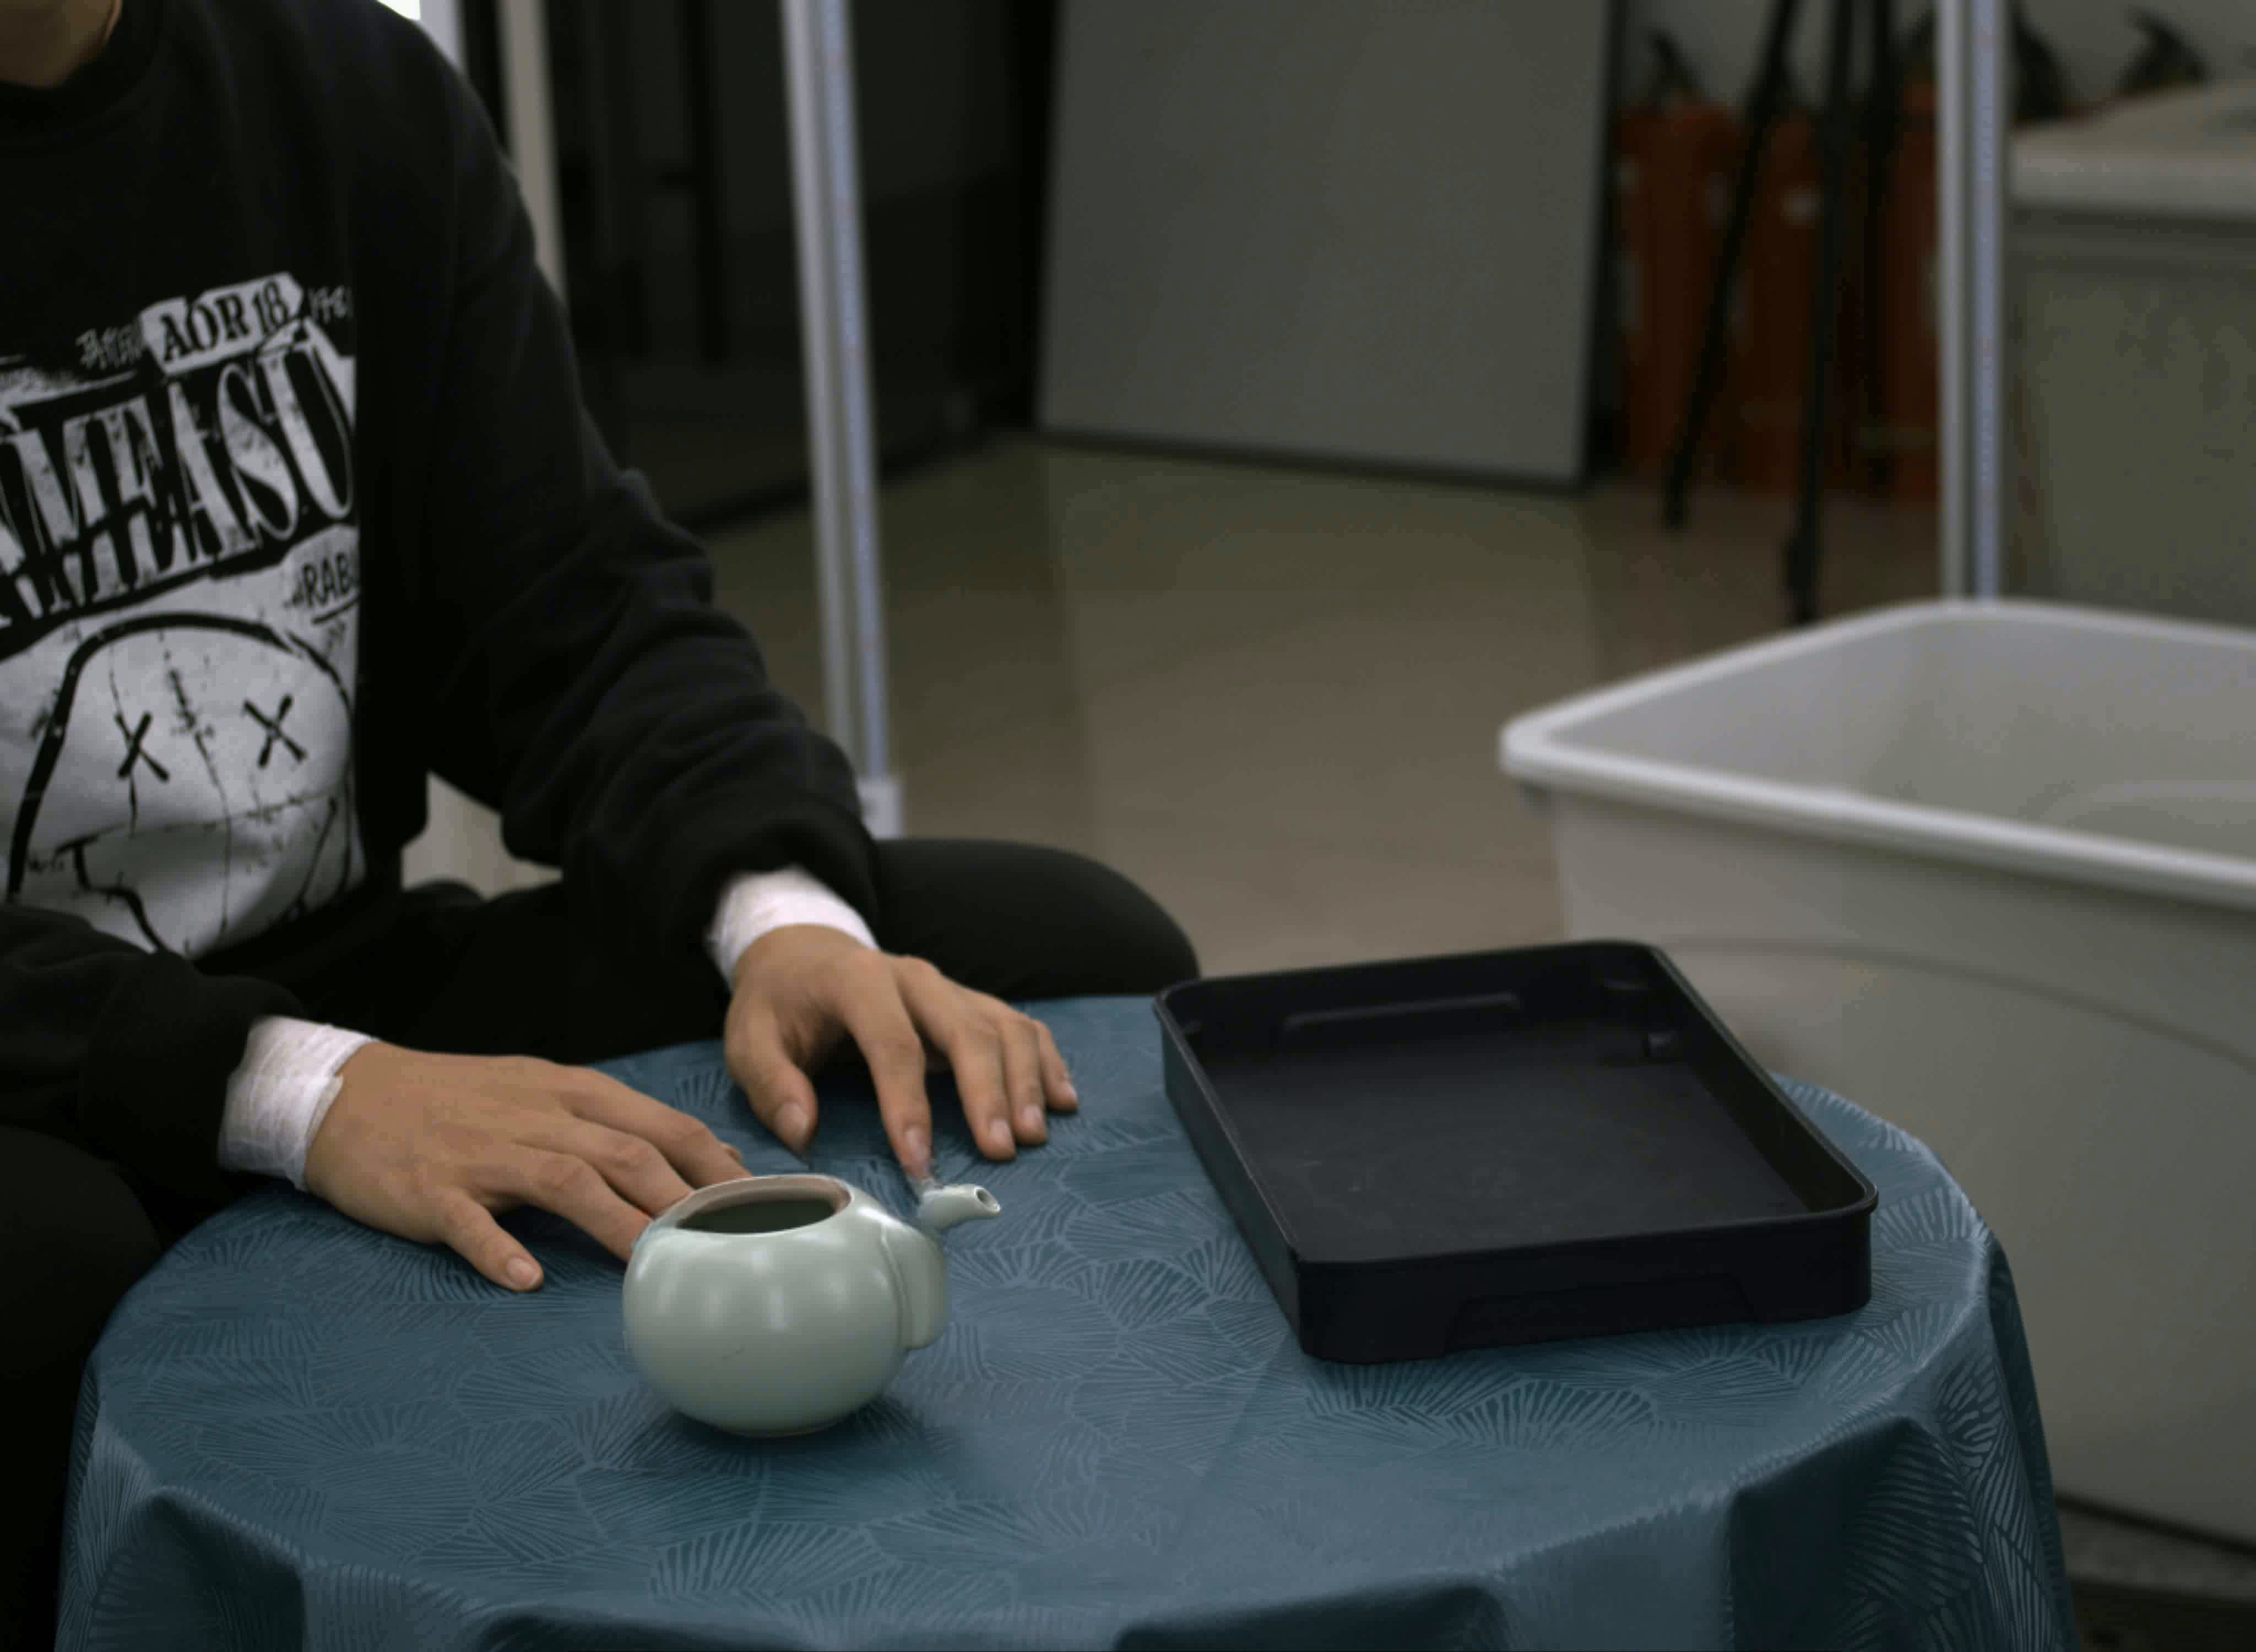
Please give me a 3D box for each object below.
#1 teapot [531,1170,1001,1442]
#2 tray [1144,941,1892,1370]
[{"bbox_3d":[-0.105,0.139,1.583,0.143,0.075,0.088,1,15,15],"label":"teapot"},{"bbox_3d":[0.119,0.101,1.743,0.181,0.037,0.320,-6,14,-8],"label":"tray"}]
